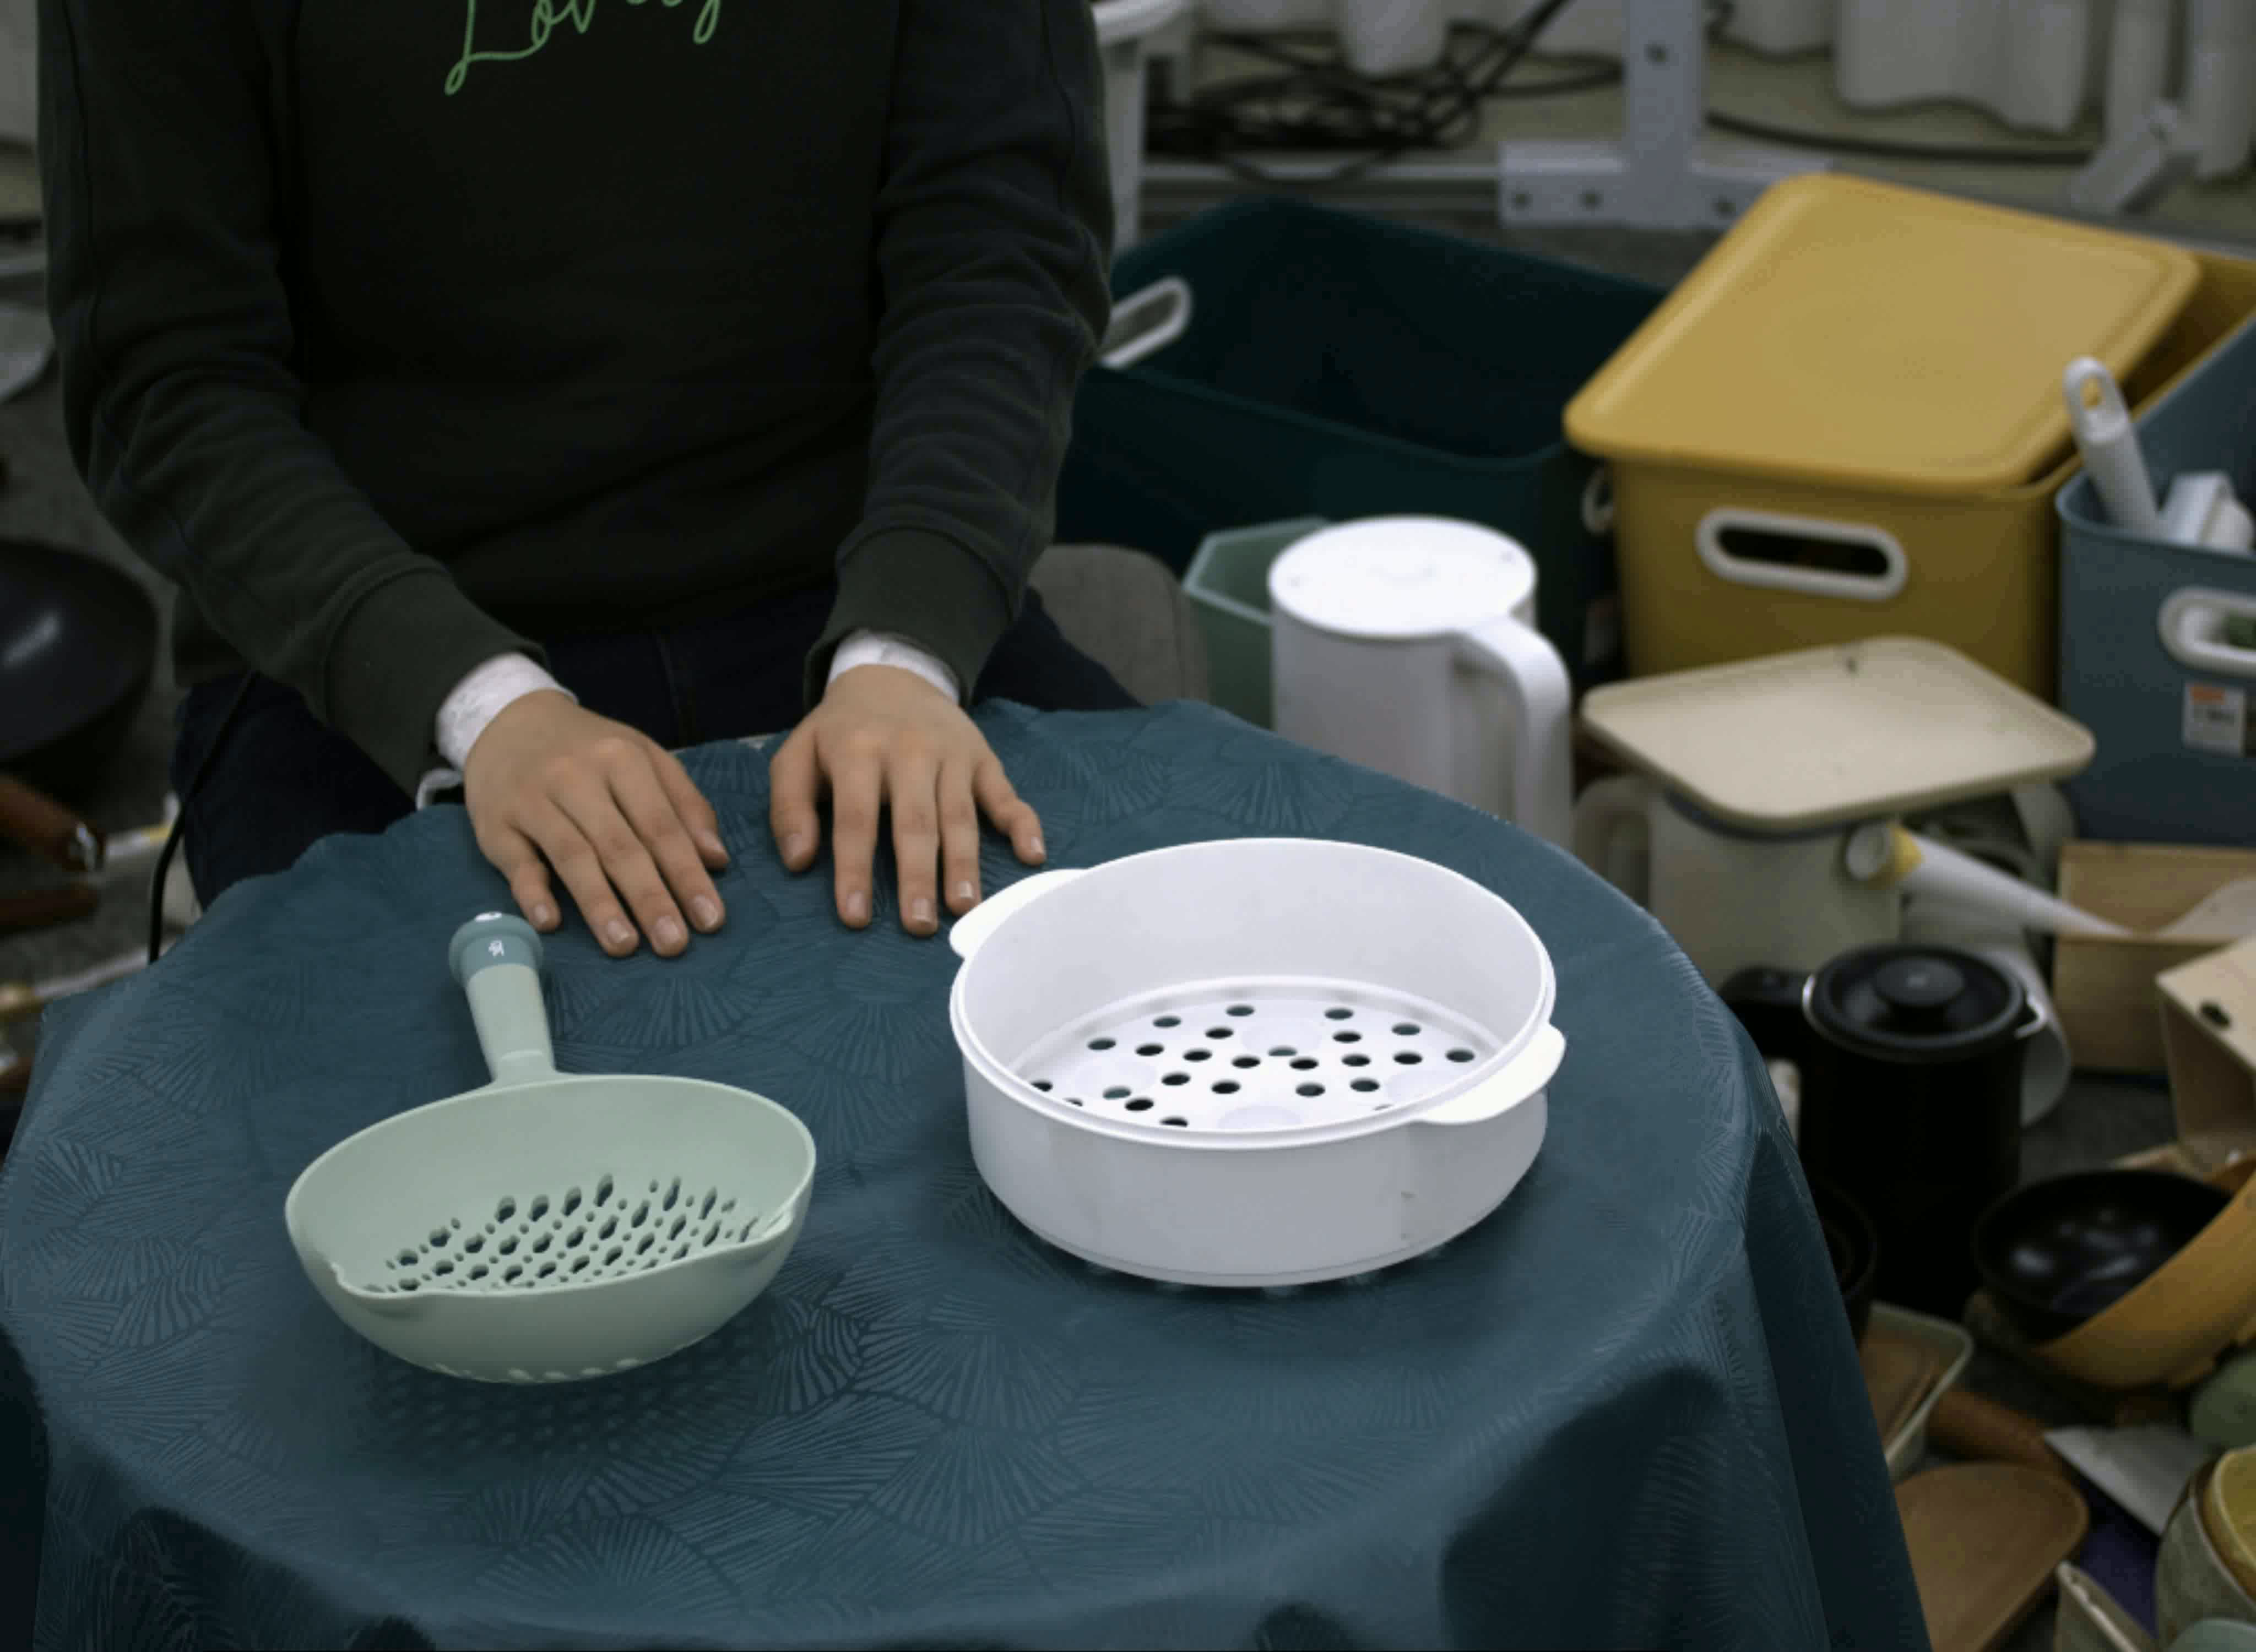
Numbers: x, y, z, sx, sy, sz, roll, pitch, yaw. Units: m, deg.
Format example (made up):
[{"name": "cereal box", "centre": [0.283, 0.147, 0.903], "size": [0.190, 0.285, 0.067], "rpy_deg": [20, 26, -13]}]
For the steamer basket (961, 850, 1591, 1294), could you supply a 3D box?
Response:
[{"name": "steamer basket", "centre": [0.047, 0.082, 1.864], "size": [0.229, 0.068, 0.205], "rpy_deg": [17, 33, 34]}]

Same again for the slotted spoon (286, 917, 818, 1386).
[{"name": "slotted spoon", "centre": [-0.198, 0.092, 1.868], "size": [0.169, 0.074, 0.363], "rpy_deg": [-7, 27, -9]}]
